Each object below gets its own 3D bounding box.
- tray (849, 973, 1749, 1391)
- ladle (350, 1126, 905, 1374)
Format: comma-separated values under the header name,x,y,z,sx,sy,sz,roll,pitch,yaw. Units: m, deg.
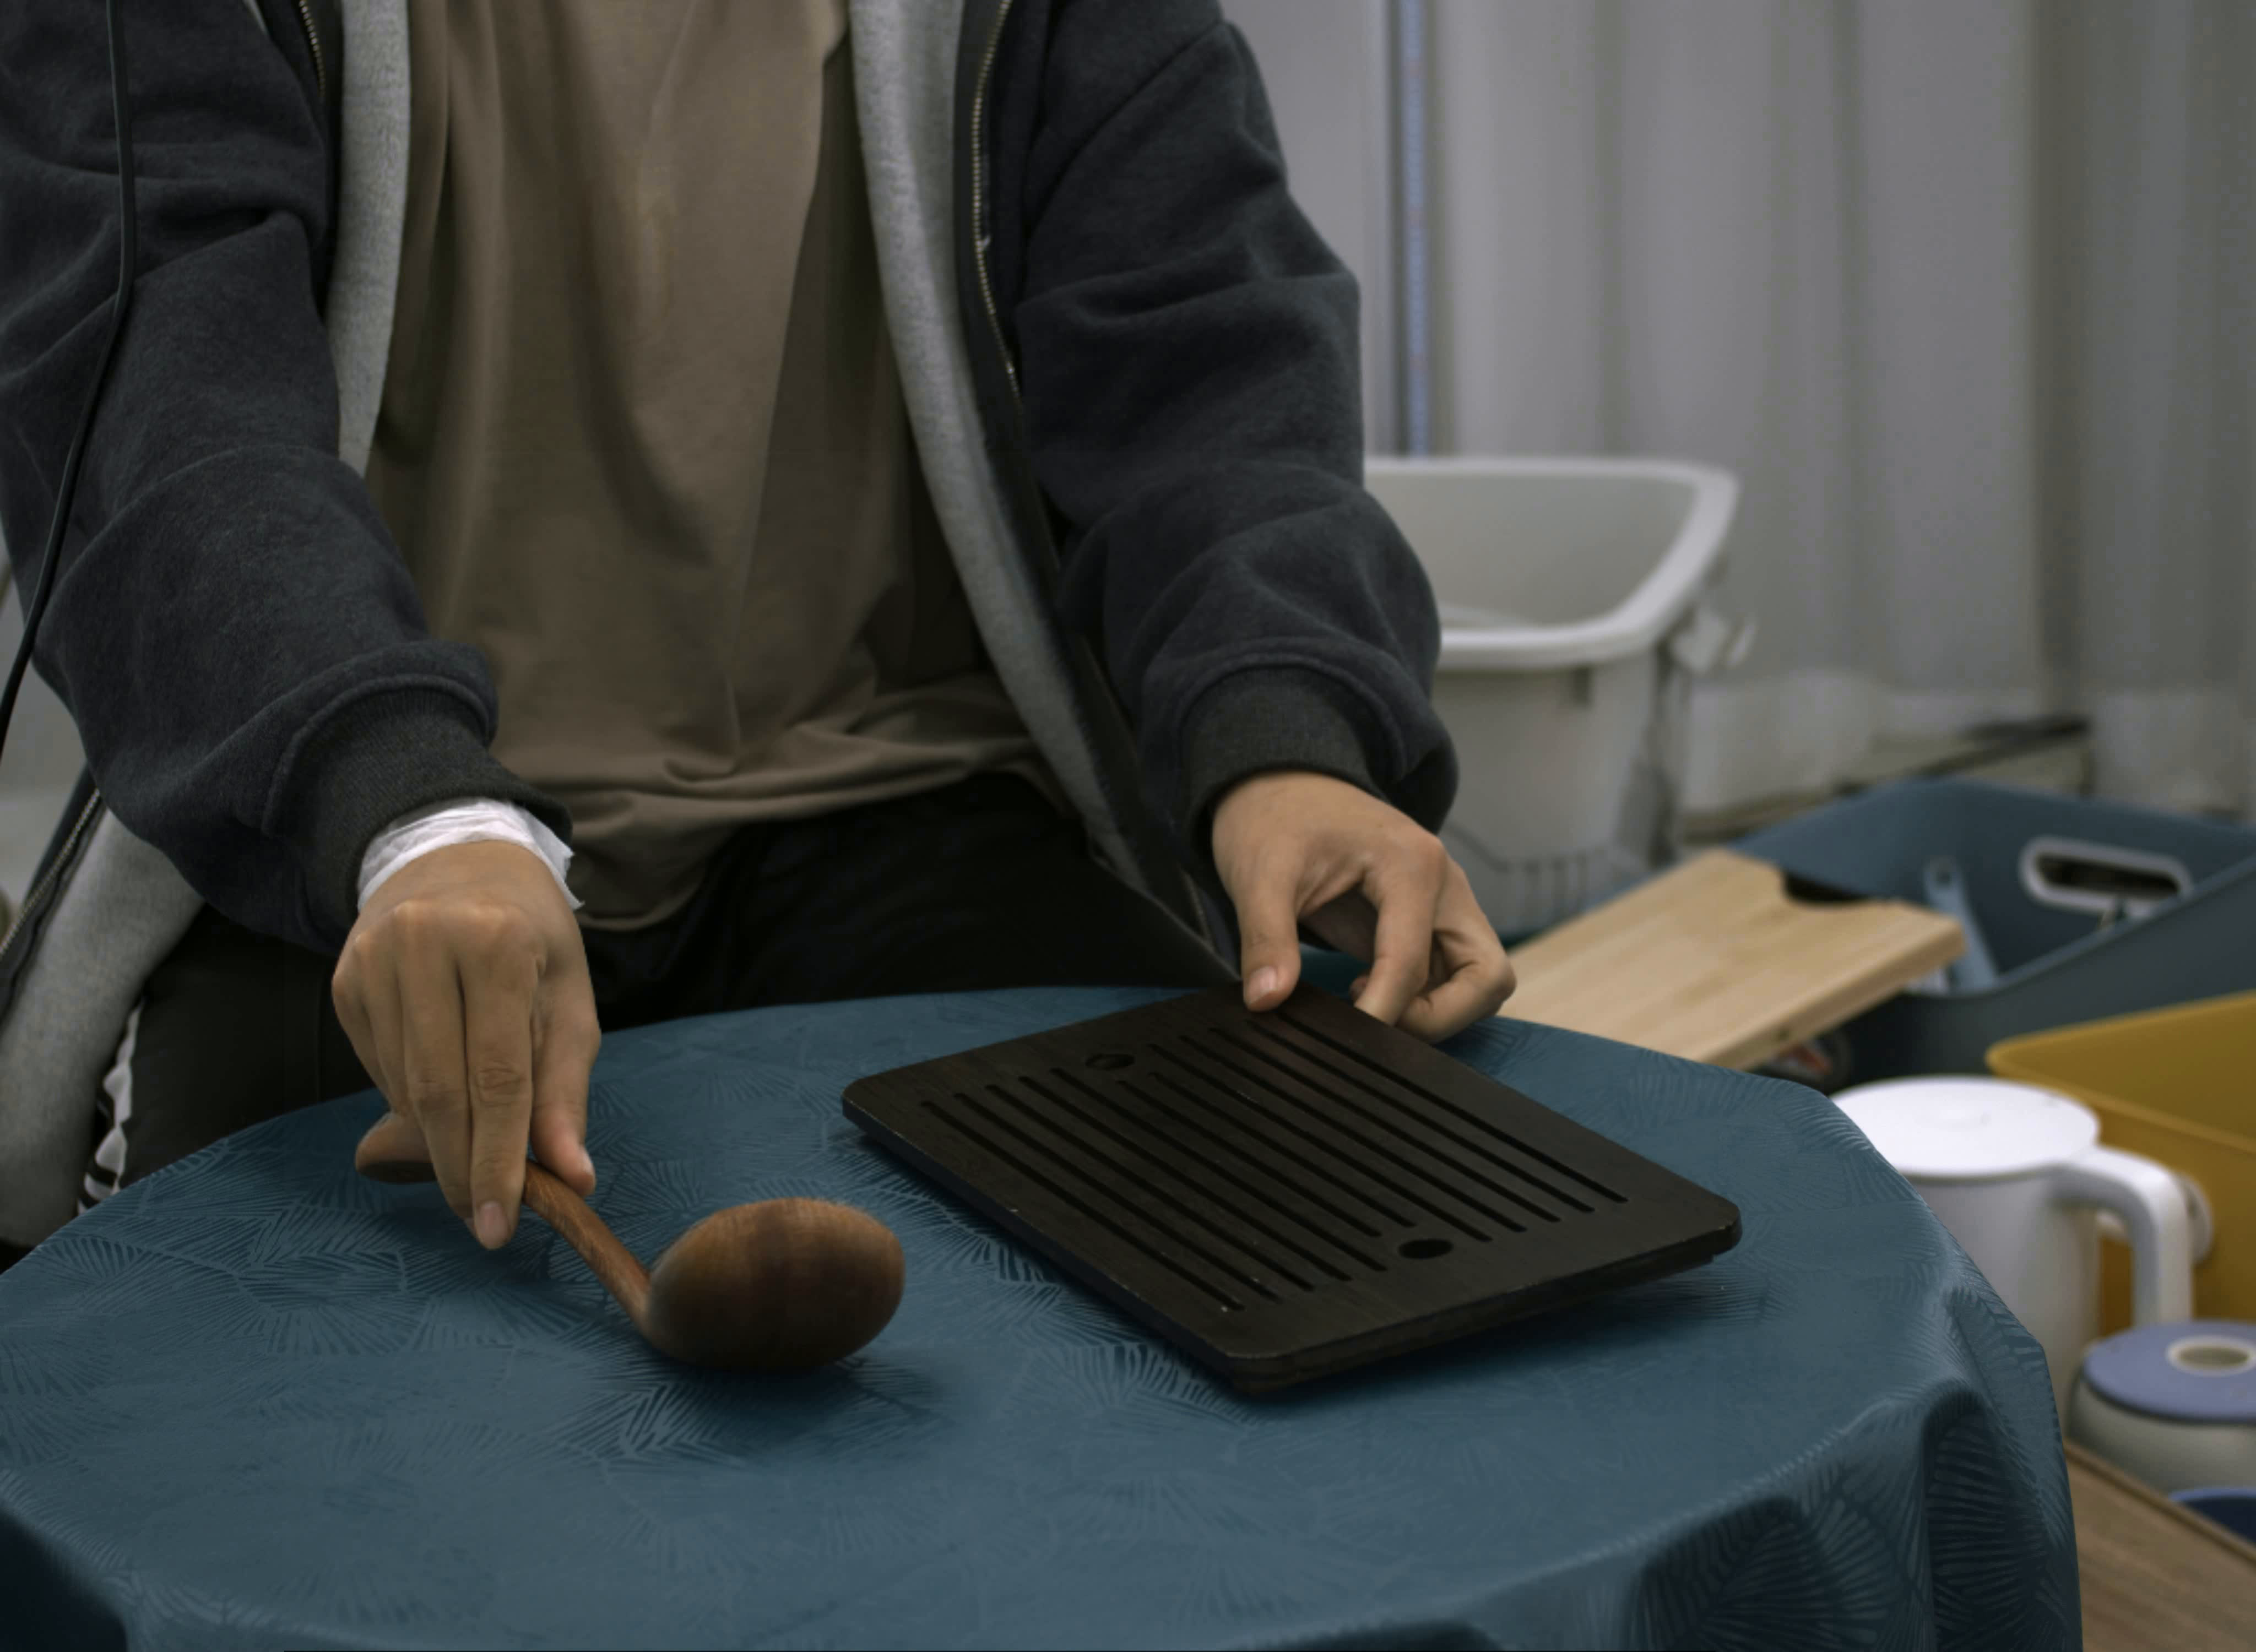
name,x,y,z,sx,sy,sz,roll,pitch,yaw
tray,0.045,0.106,1.687,0.169,0.018,0.308,-13,18,-22
ladle,-0.157,0.110,1.635,0.075,0.065,0.262,27,-4,-37
